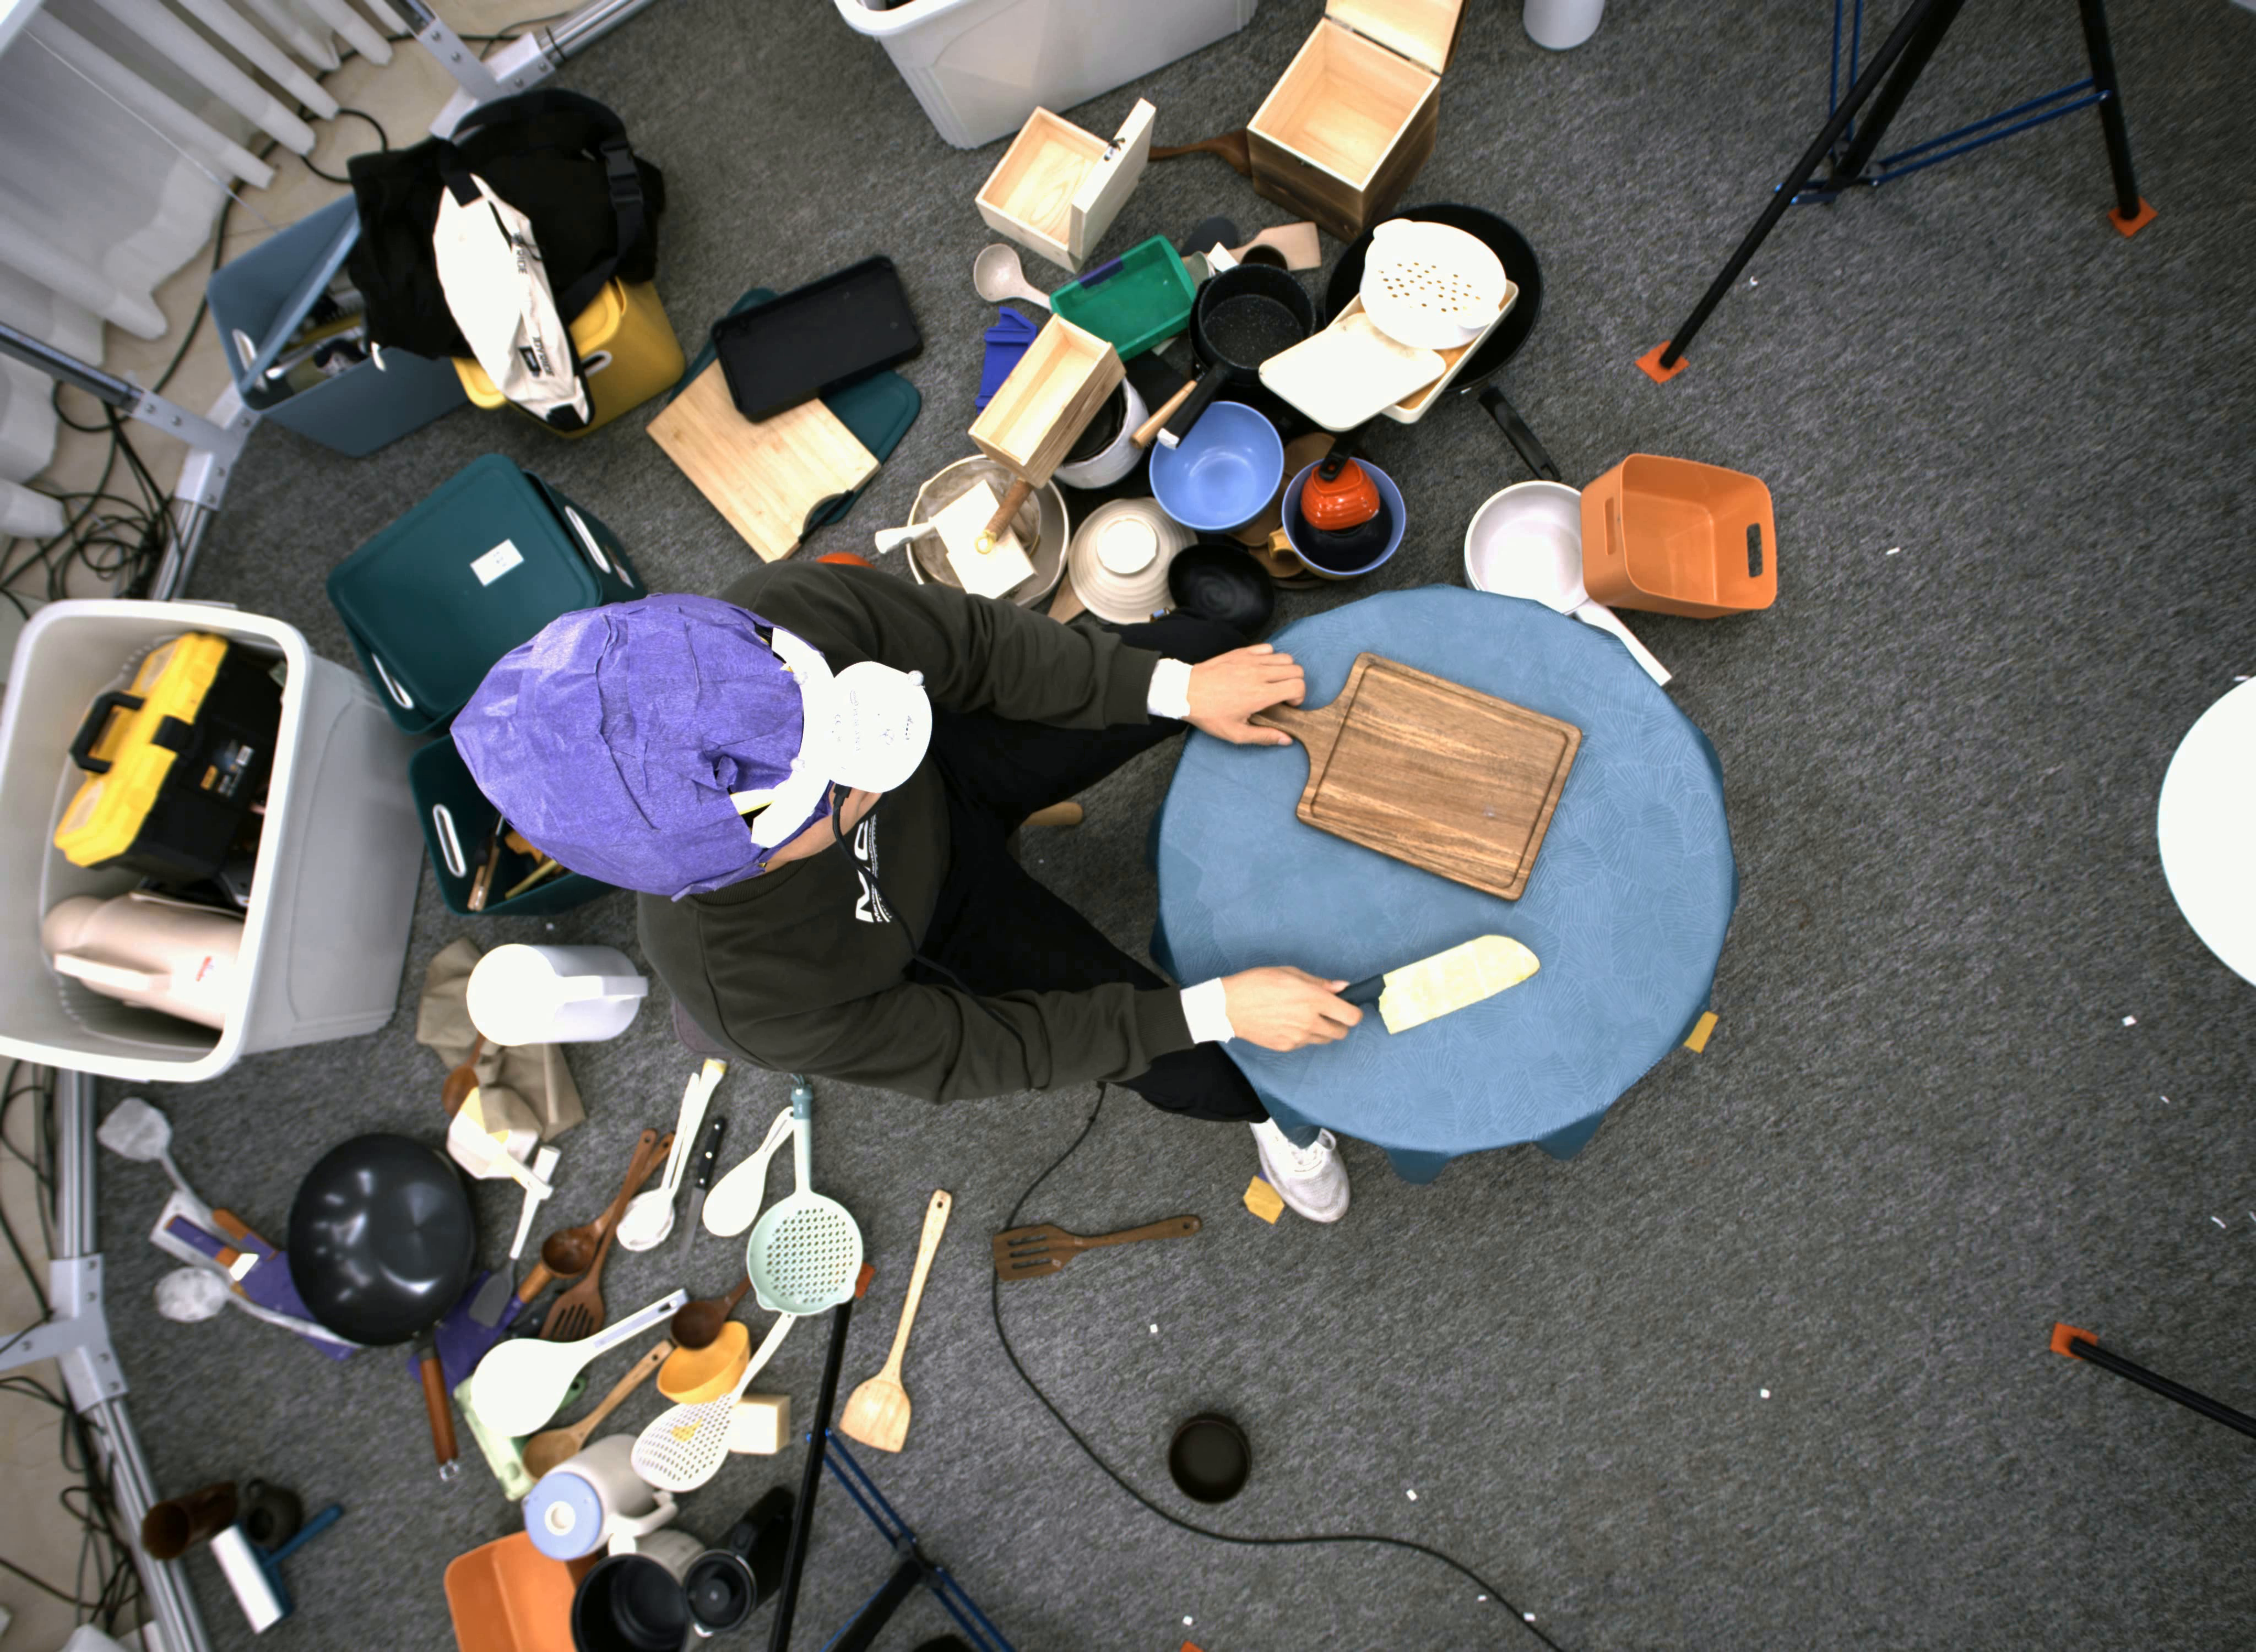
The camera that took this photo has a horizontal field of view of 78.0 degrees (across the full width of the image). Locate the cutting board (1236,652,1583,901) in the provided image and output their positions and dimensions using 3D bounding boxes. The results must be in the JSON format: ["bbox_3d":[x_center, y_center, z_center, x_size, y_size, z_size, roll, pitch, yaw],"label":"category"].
[{"bbox_3d":[0.281,-0.073,1.455,0.352,0.023,0.201,21,90,11],"label":"cutting board"}]

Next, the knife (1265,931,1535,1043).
[{"bbox_3d":[0.283,0.175,1.429,0.291,0.027,0.082,-20,111,7],"label":"knife"}]
